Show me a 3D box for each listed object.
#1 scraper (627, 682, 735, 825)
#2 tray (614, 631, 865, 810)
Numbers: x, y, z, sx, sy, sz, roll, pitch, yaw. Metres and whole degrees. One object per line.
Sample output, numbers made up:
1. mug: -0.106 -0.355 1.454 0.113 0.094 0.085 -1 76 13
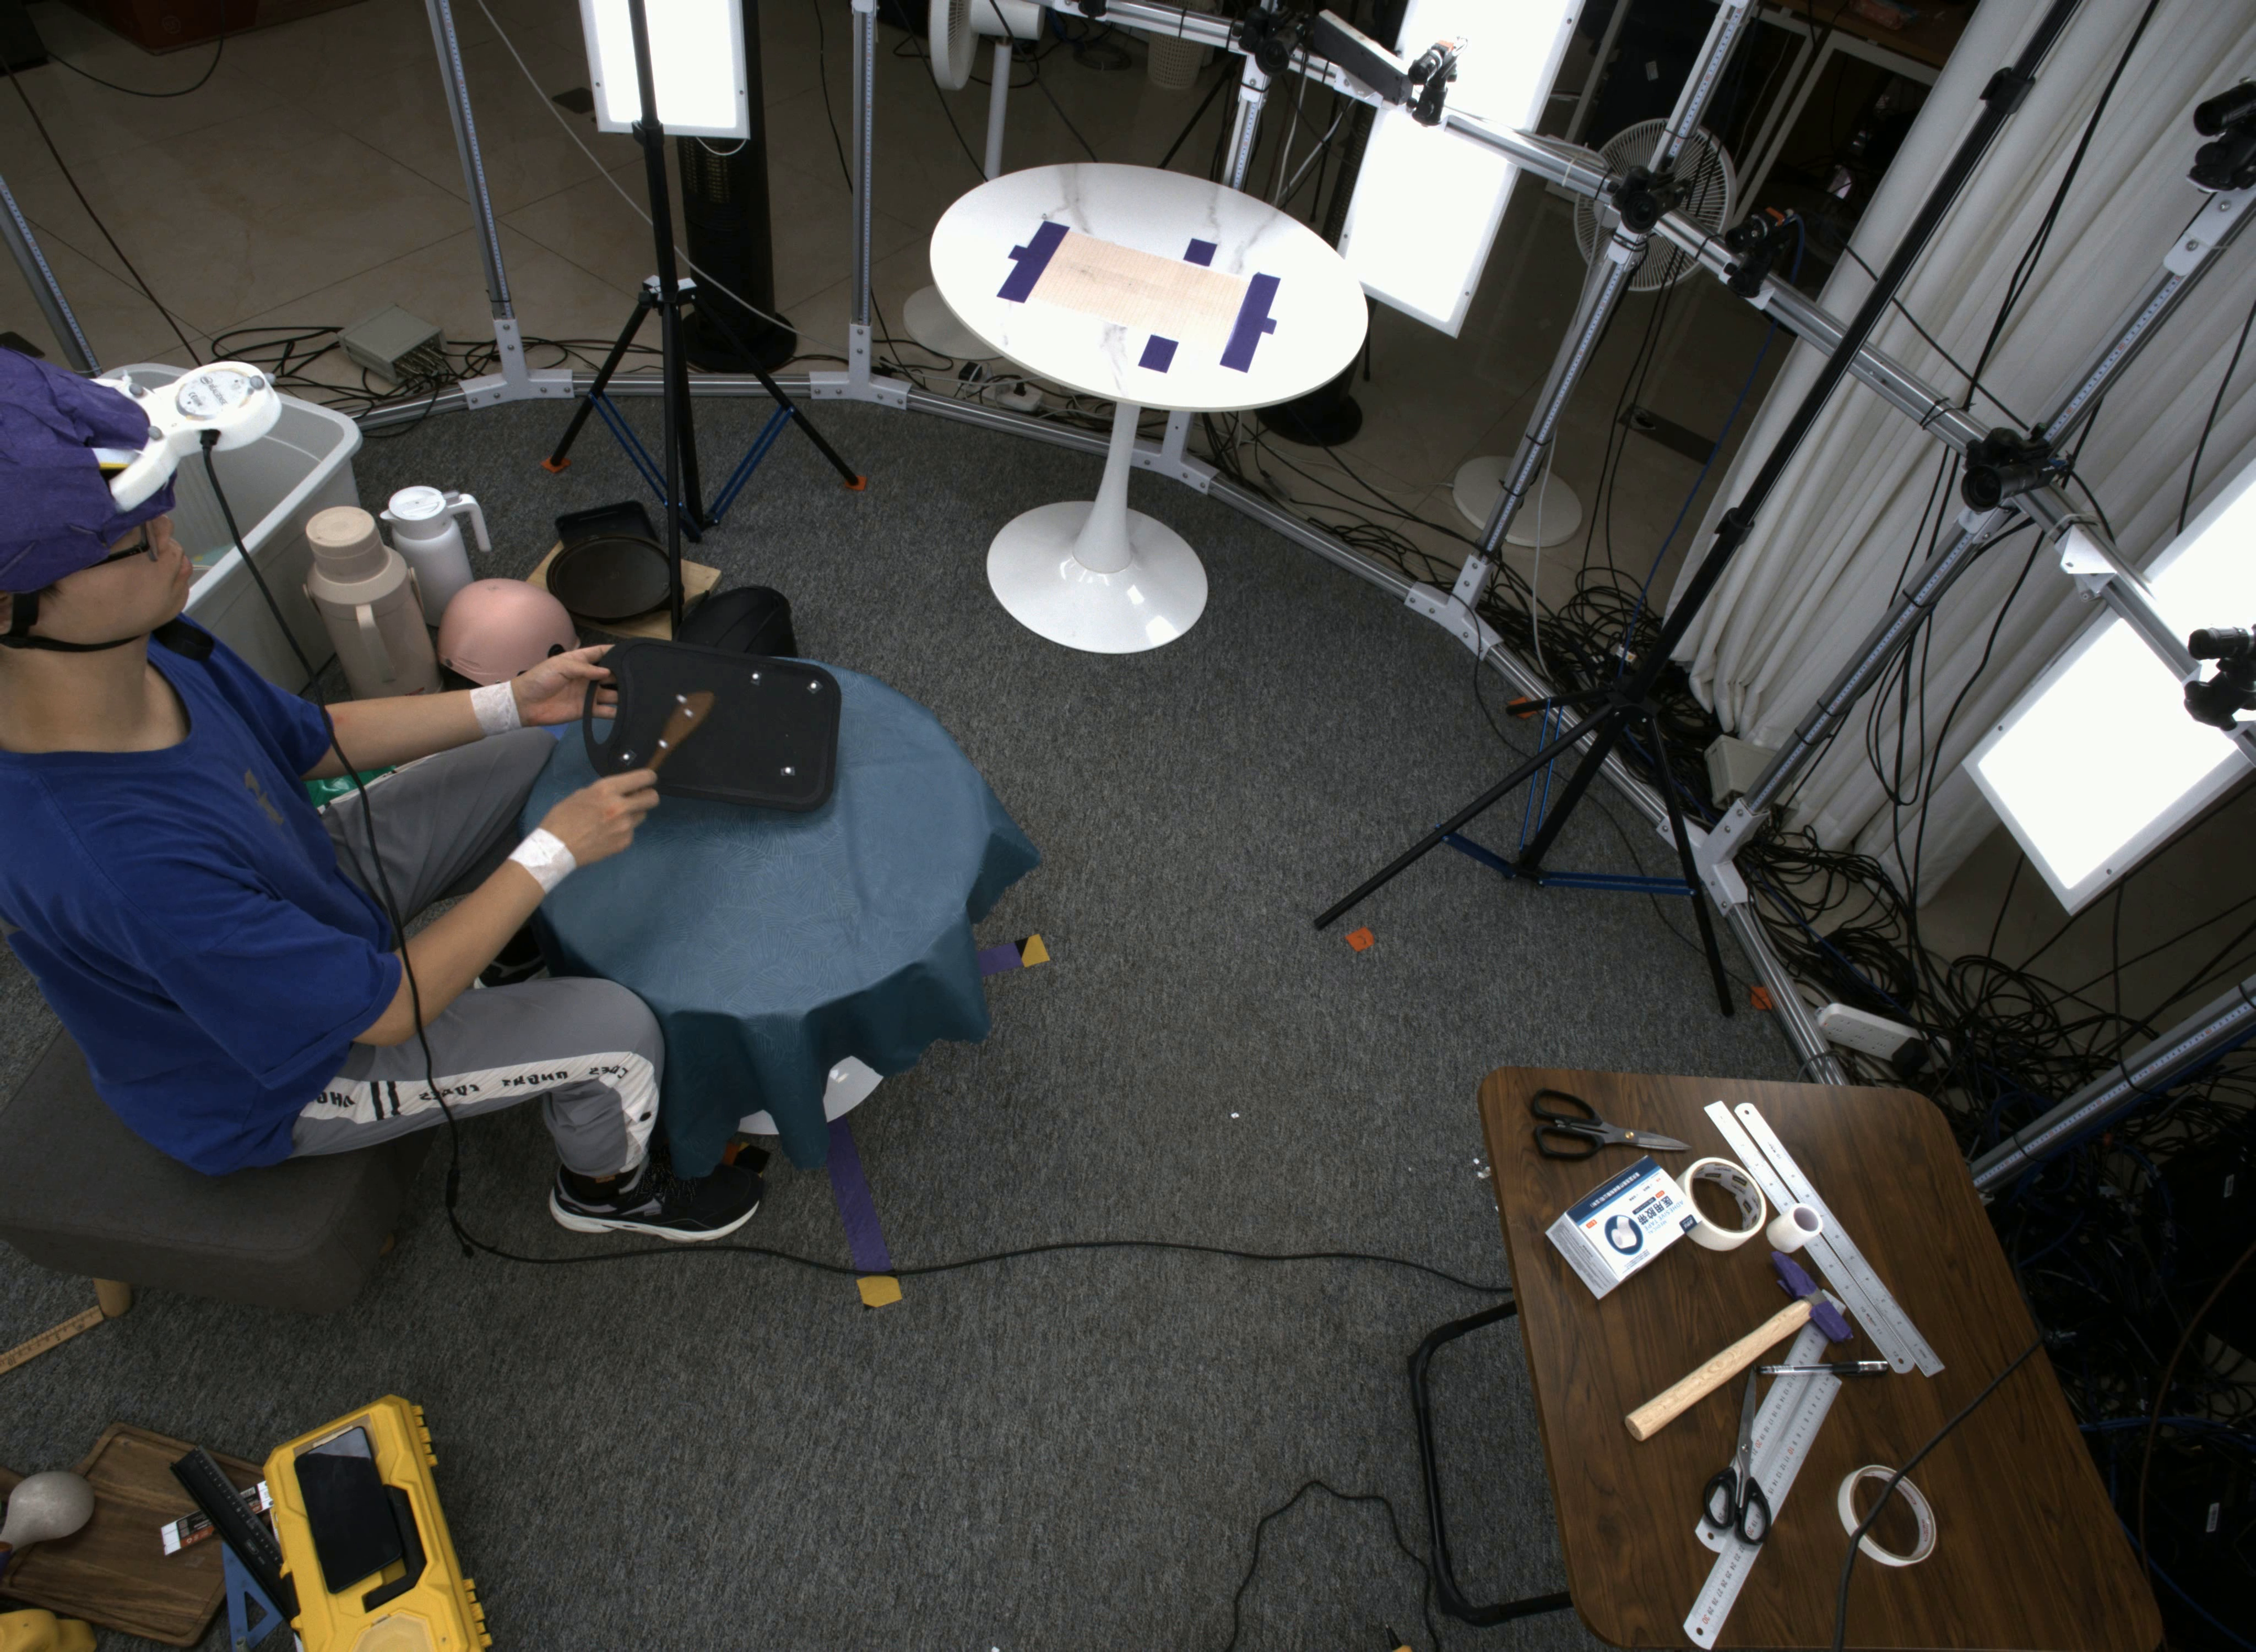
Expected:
1. scraper: -0.543 -0.089 1.550 0.073 0.011 0.210 3 56 41
2. tray: -0.513 -0.141 1.699 0.329 0.009 0.211 9 74 -22
